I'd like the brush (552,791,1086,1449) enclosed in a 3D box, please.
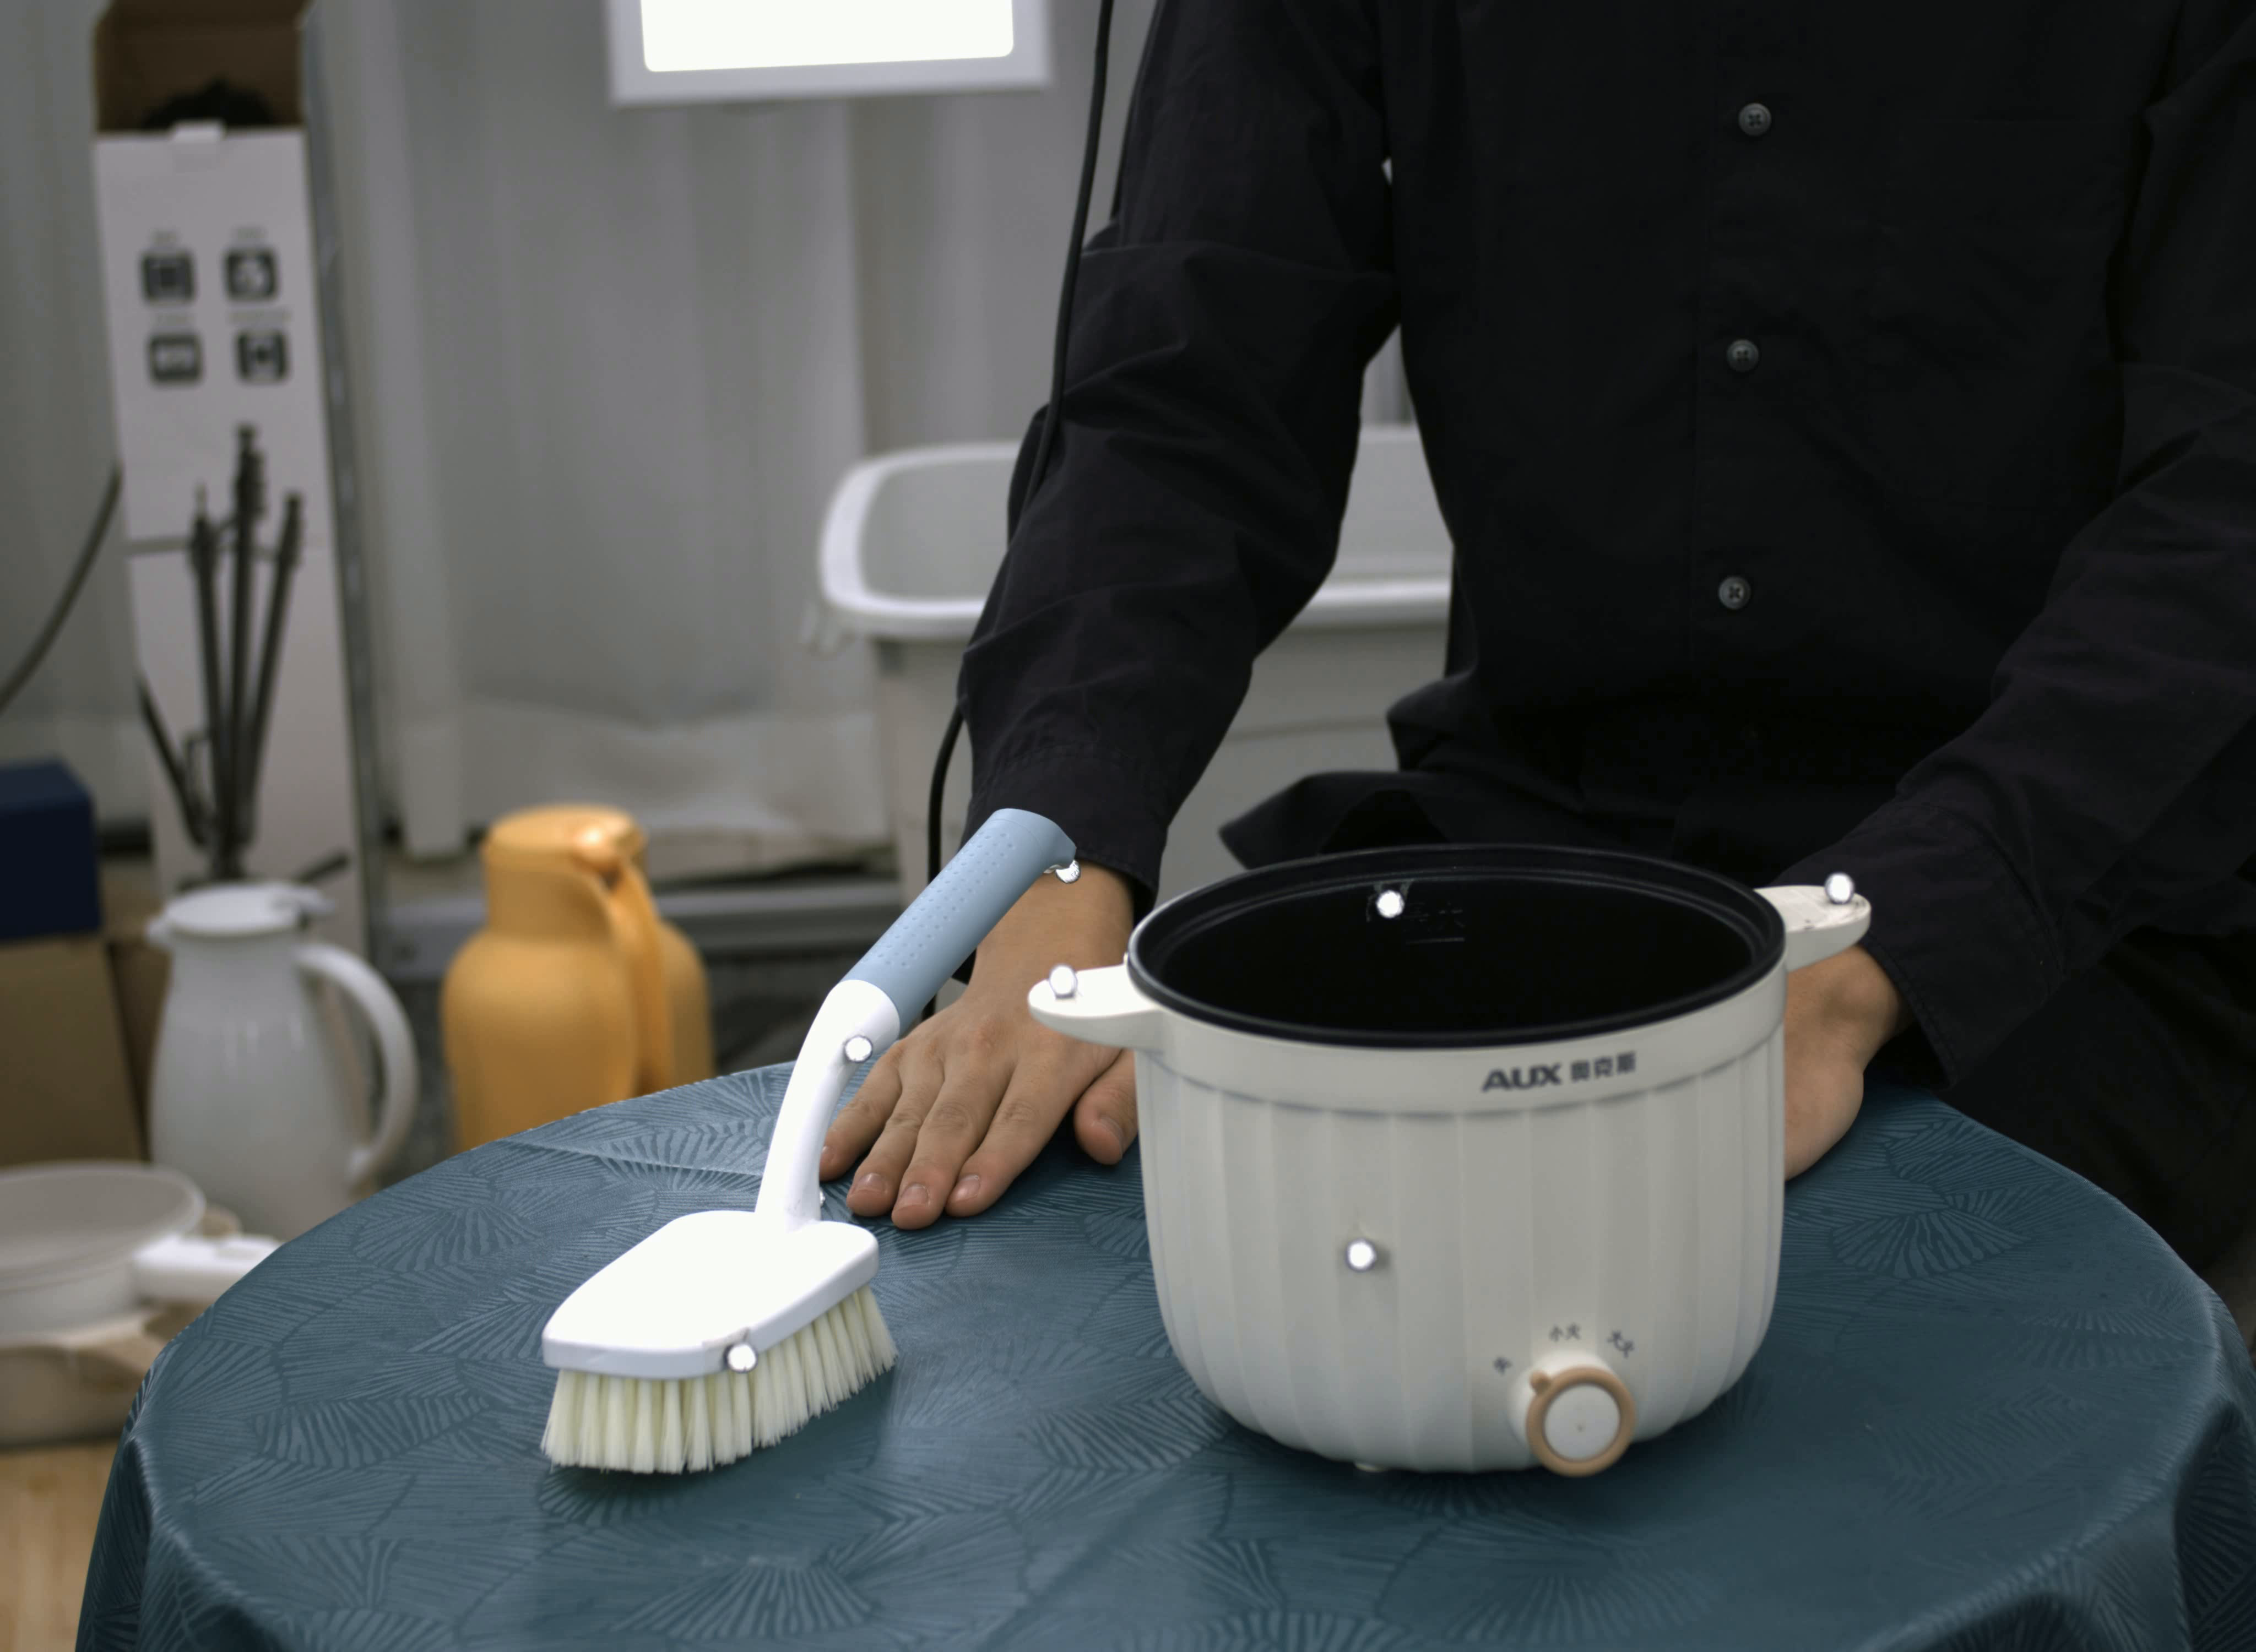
[{"bbox_3d":[-0.076,0.100,1.625,0.083,0.084,0.328,35,36,4],"label":"brush"}]

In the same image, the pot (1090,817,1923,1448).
[{"bbox_3d":[0.111,0.088,1.510,0.239,0.142,0.192,-8,13,-13],"label":"pot"}]
